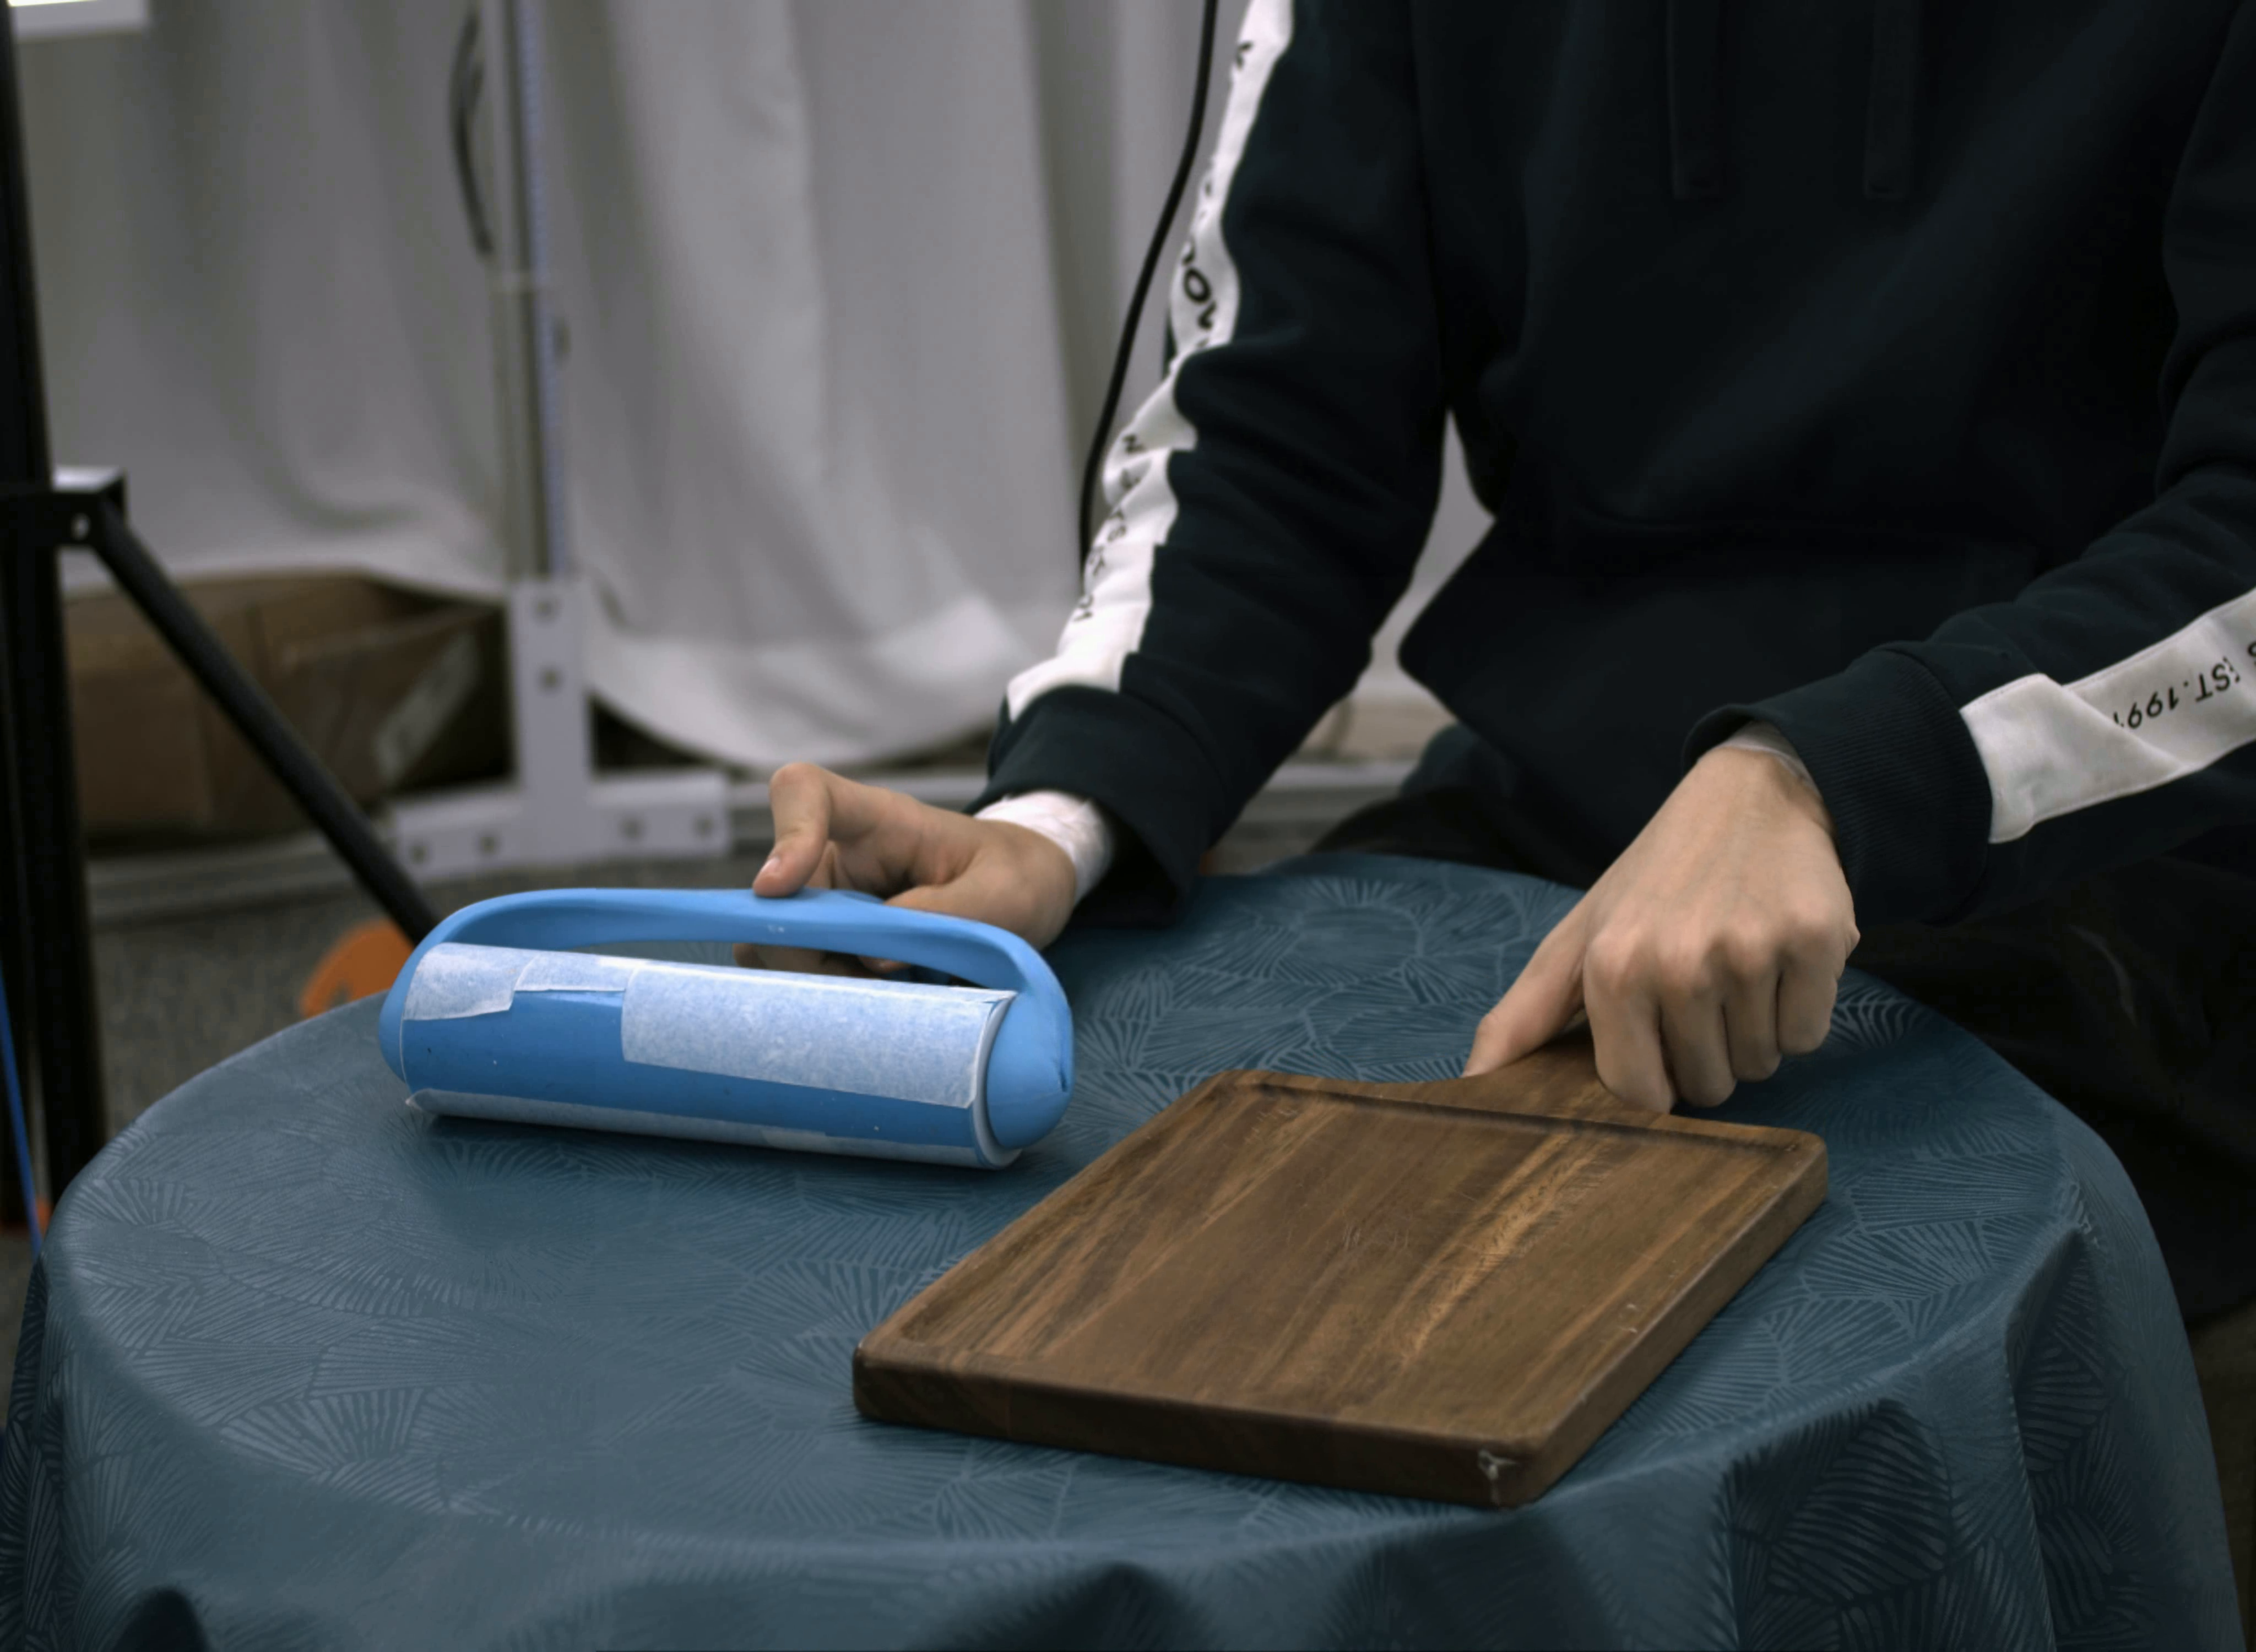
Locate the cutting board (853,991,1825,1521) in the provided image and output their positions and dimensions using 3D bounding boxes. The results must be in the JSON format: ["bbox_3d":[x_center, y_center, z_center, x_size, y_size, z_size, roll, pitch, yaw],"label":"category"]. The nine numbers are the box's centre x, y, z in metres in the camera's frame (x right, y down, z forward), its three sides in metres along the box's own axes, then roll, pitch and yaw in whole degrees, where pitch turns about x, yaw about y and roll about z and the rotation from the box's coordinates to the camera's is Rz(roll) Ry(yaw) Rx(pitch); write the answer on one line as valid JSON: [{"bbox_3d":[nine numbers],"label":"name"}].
[{"bbox_3d":[0.084,0.109,1.498,0.204,0.023,0.347,6,18,24],"label":"cutting board"}]

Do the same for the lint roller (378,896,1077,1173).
[{"bbox_3d":[-0.105,0.052,1.668,0.231,0.068,0.178,2,17,21],"label":"lint roller"}]
